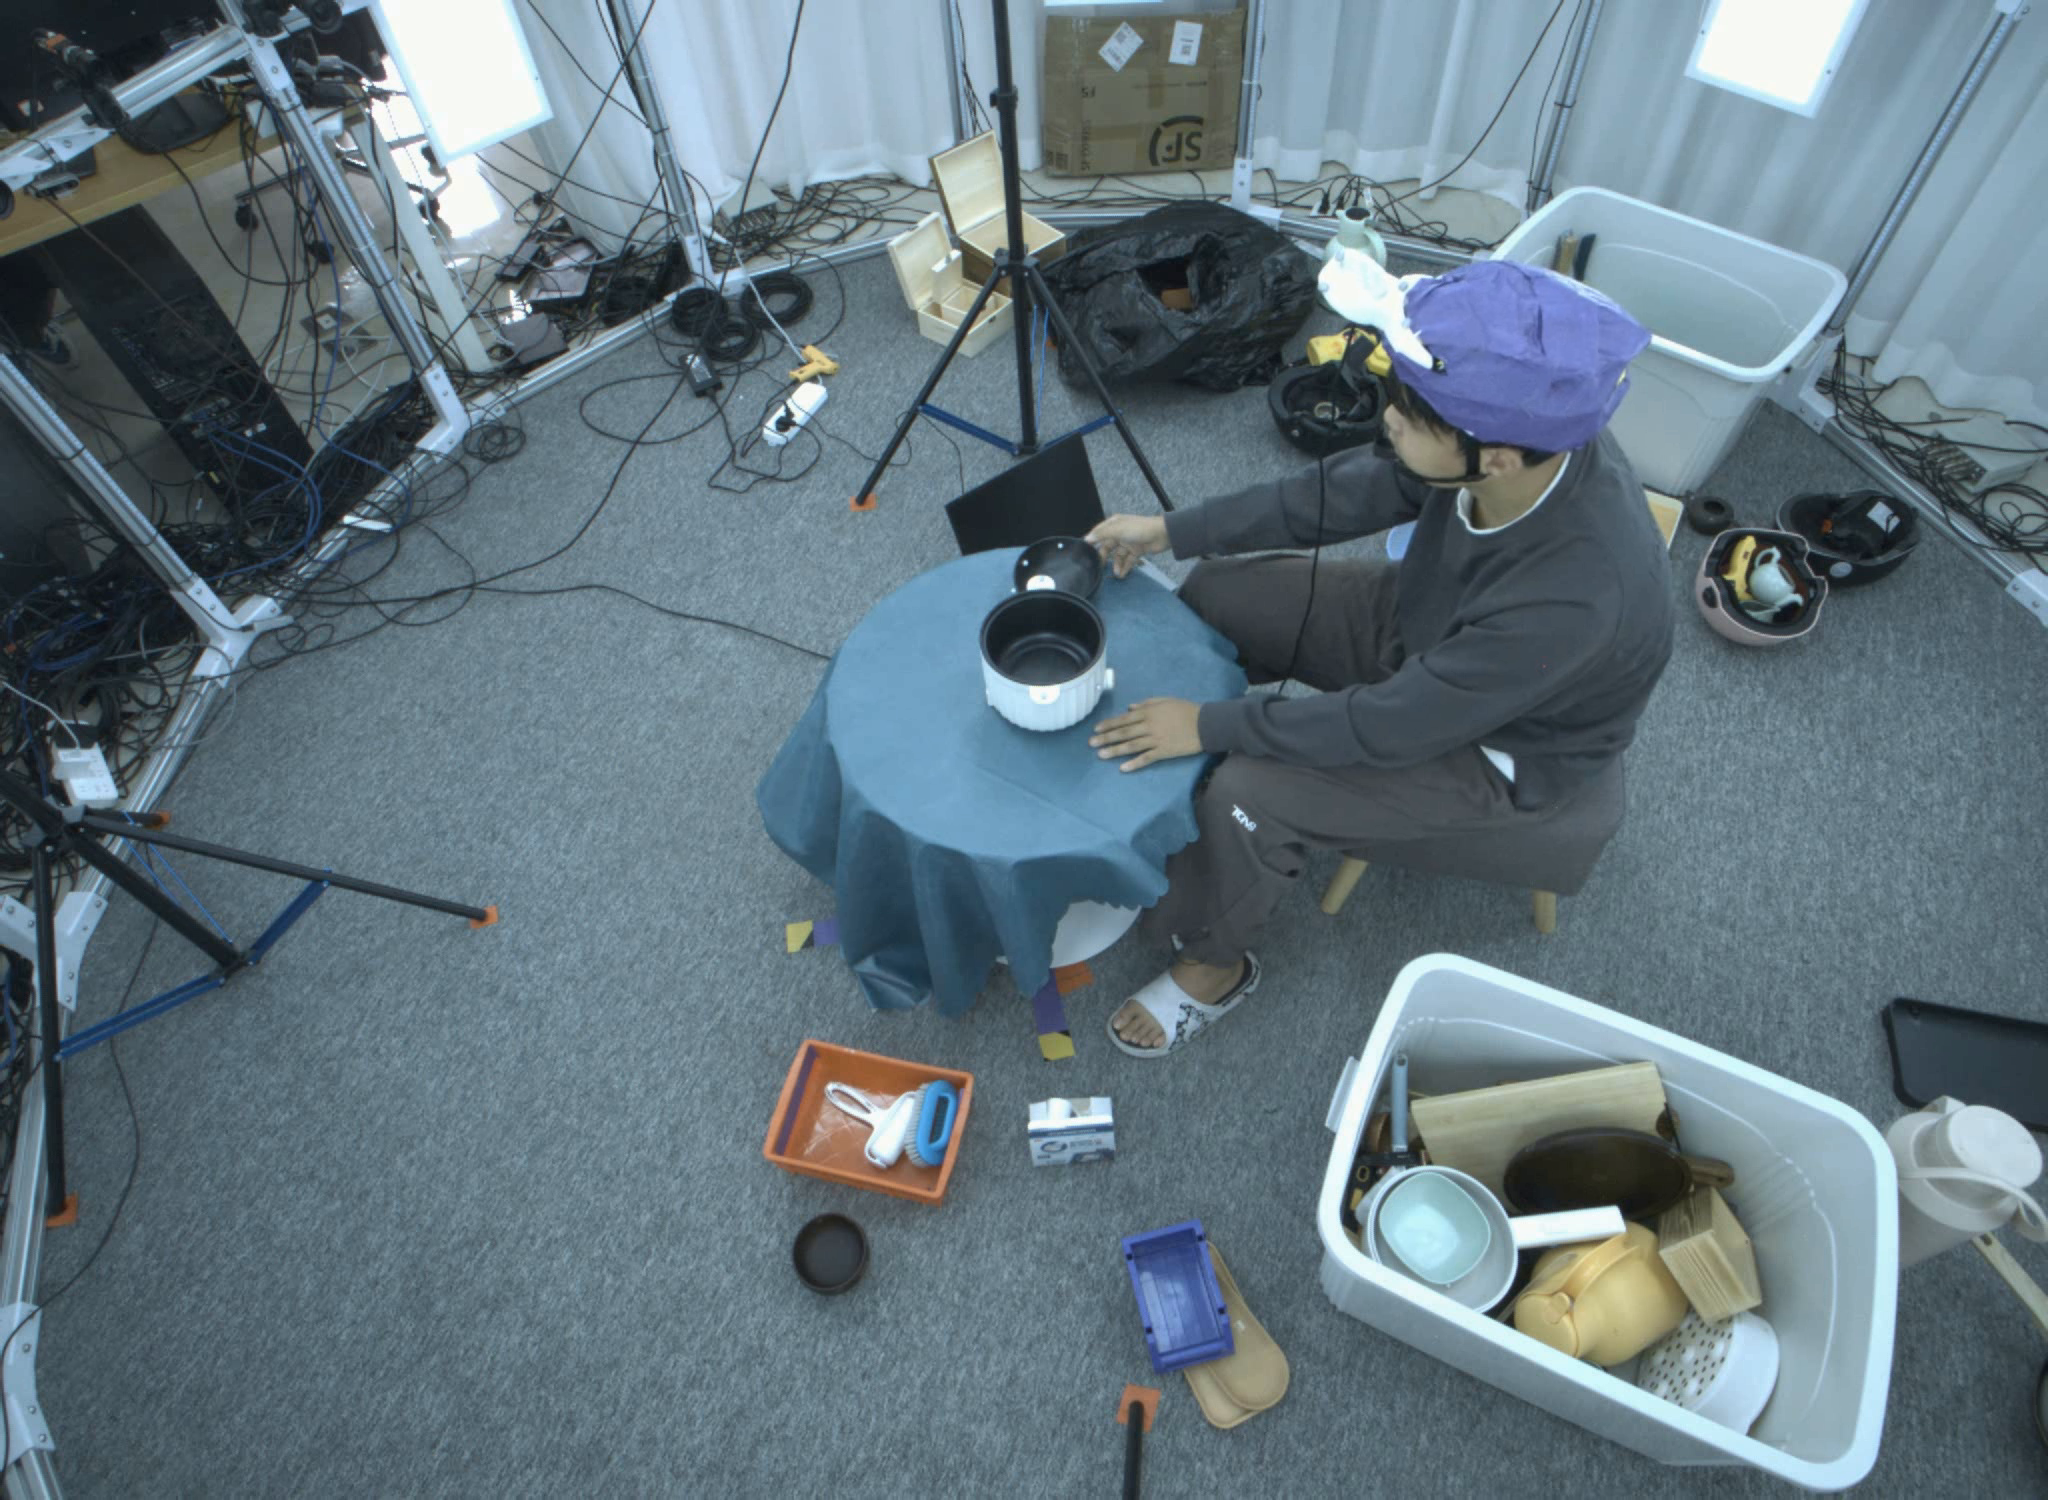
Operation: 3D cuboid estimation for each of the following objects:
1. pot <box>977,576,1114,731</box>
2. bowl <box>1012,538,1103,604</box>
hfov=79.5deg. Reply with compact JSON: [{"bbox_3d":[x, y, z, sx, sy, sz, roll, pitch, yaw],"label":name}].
[{"bbox_3d":[0.033,-0.126,1.791,0.190,0.144,0.237,-5,56,2],"label":"pot"},{"bbox_3d":[0.054,-0.264,1.933,0.136,0.067,0.170,14,55,11],"label":"bowl"}]
